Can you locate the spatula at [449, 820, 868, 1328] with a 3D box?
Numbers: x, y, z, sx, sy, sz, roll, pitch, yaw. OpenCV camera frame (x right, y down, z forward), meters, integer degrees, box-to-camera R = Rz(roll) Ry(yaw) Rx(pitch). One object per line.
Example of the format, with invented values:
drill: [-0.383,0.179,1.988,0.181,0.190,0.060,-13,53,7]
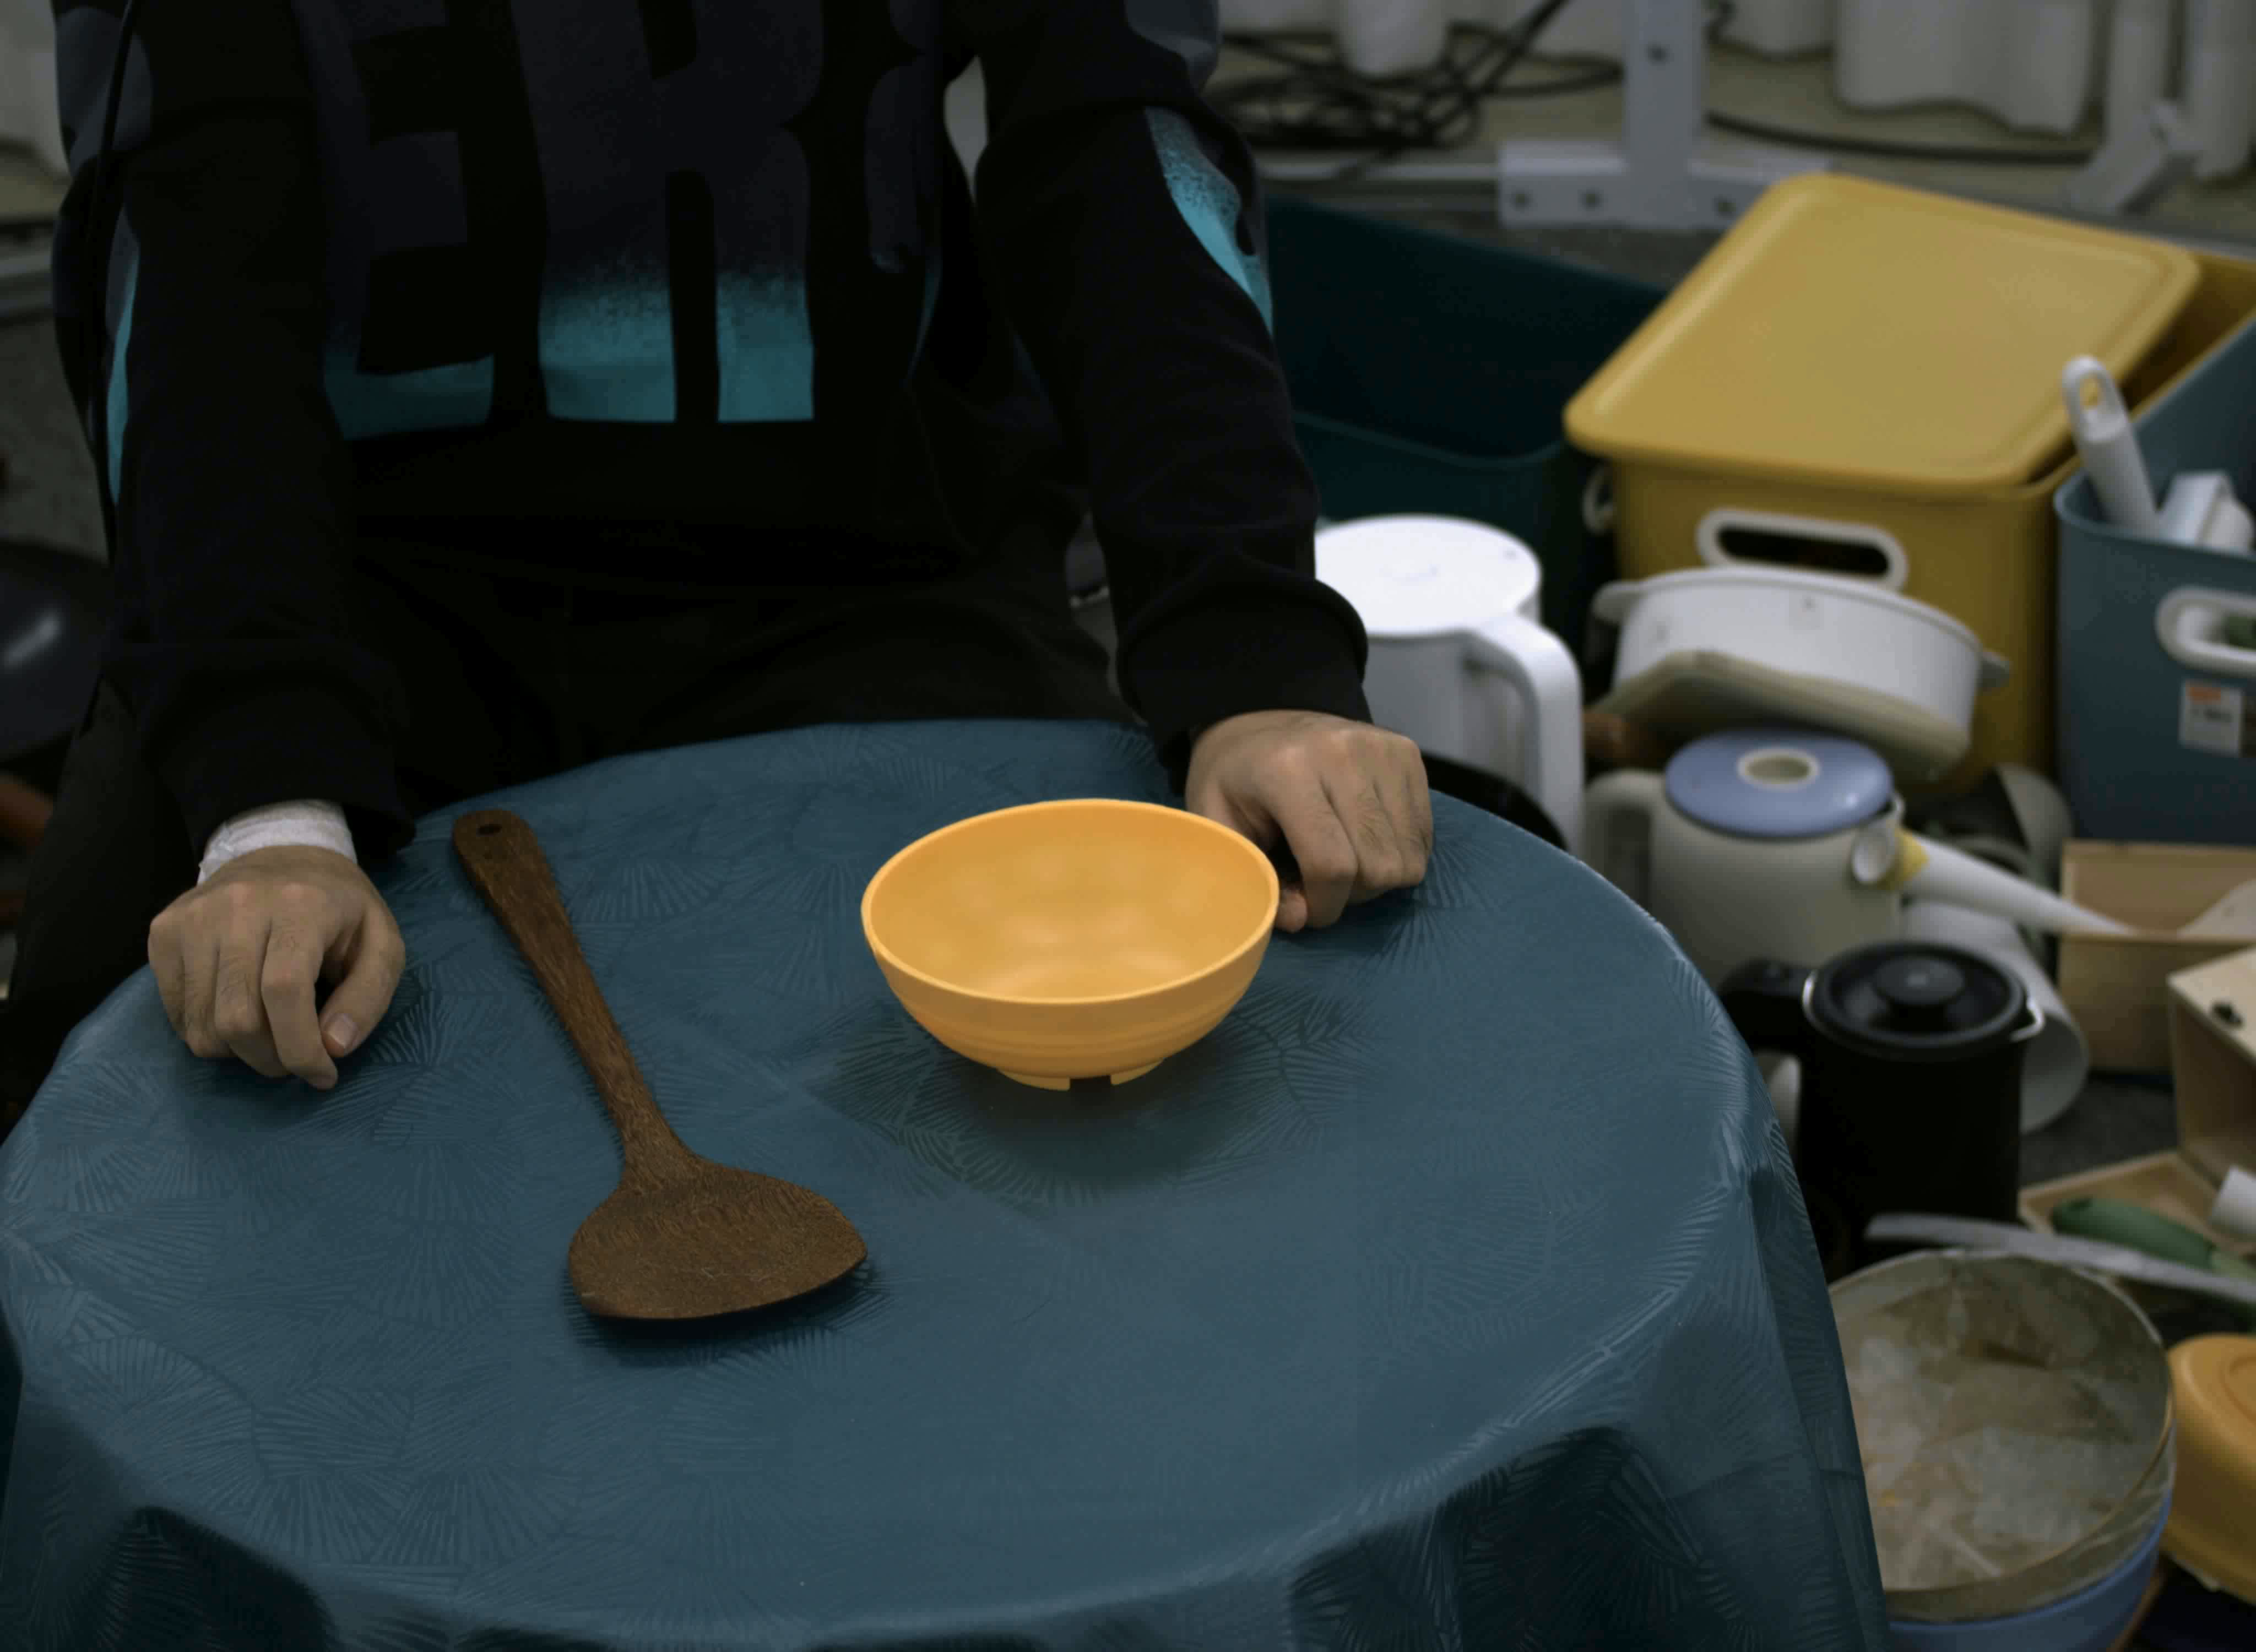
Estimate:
spatula: [-0.183,0.078,1.951,0.096,0.015,0.389,-11,28,-16]

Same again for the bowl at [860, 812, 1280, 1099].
bowl: [-0.020,0.053,1.938,0.144,0.059,0.147,0,25,1]
